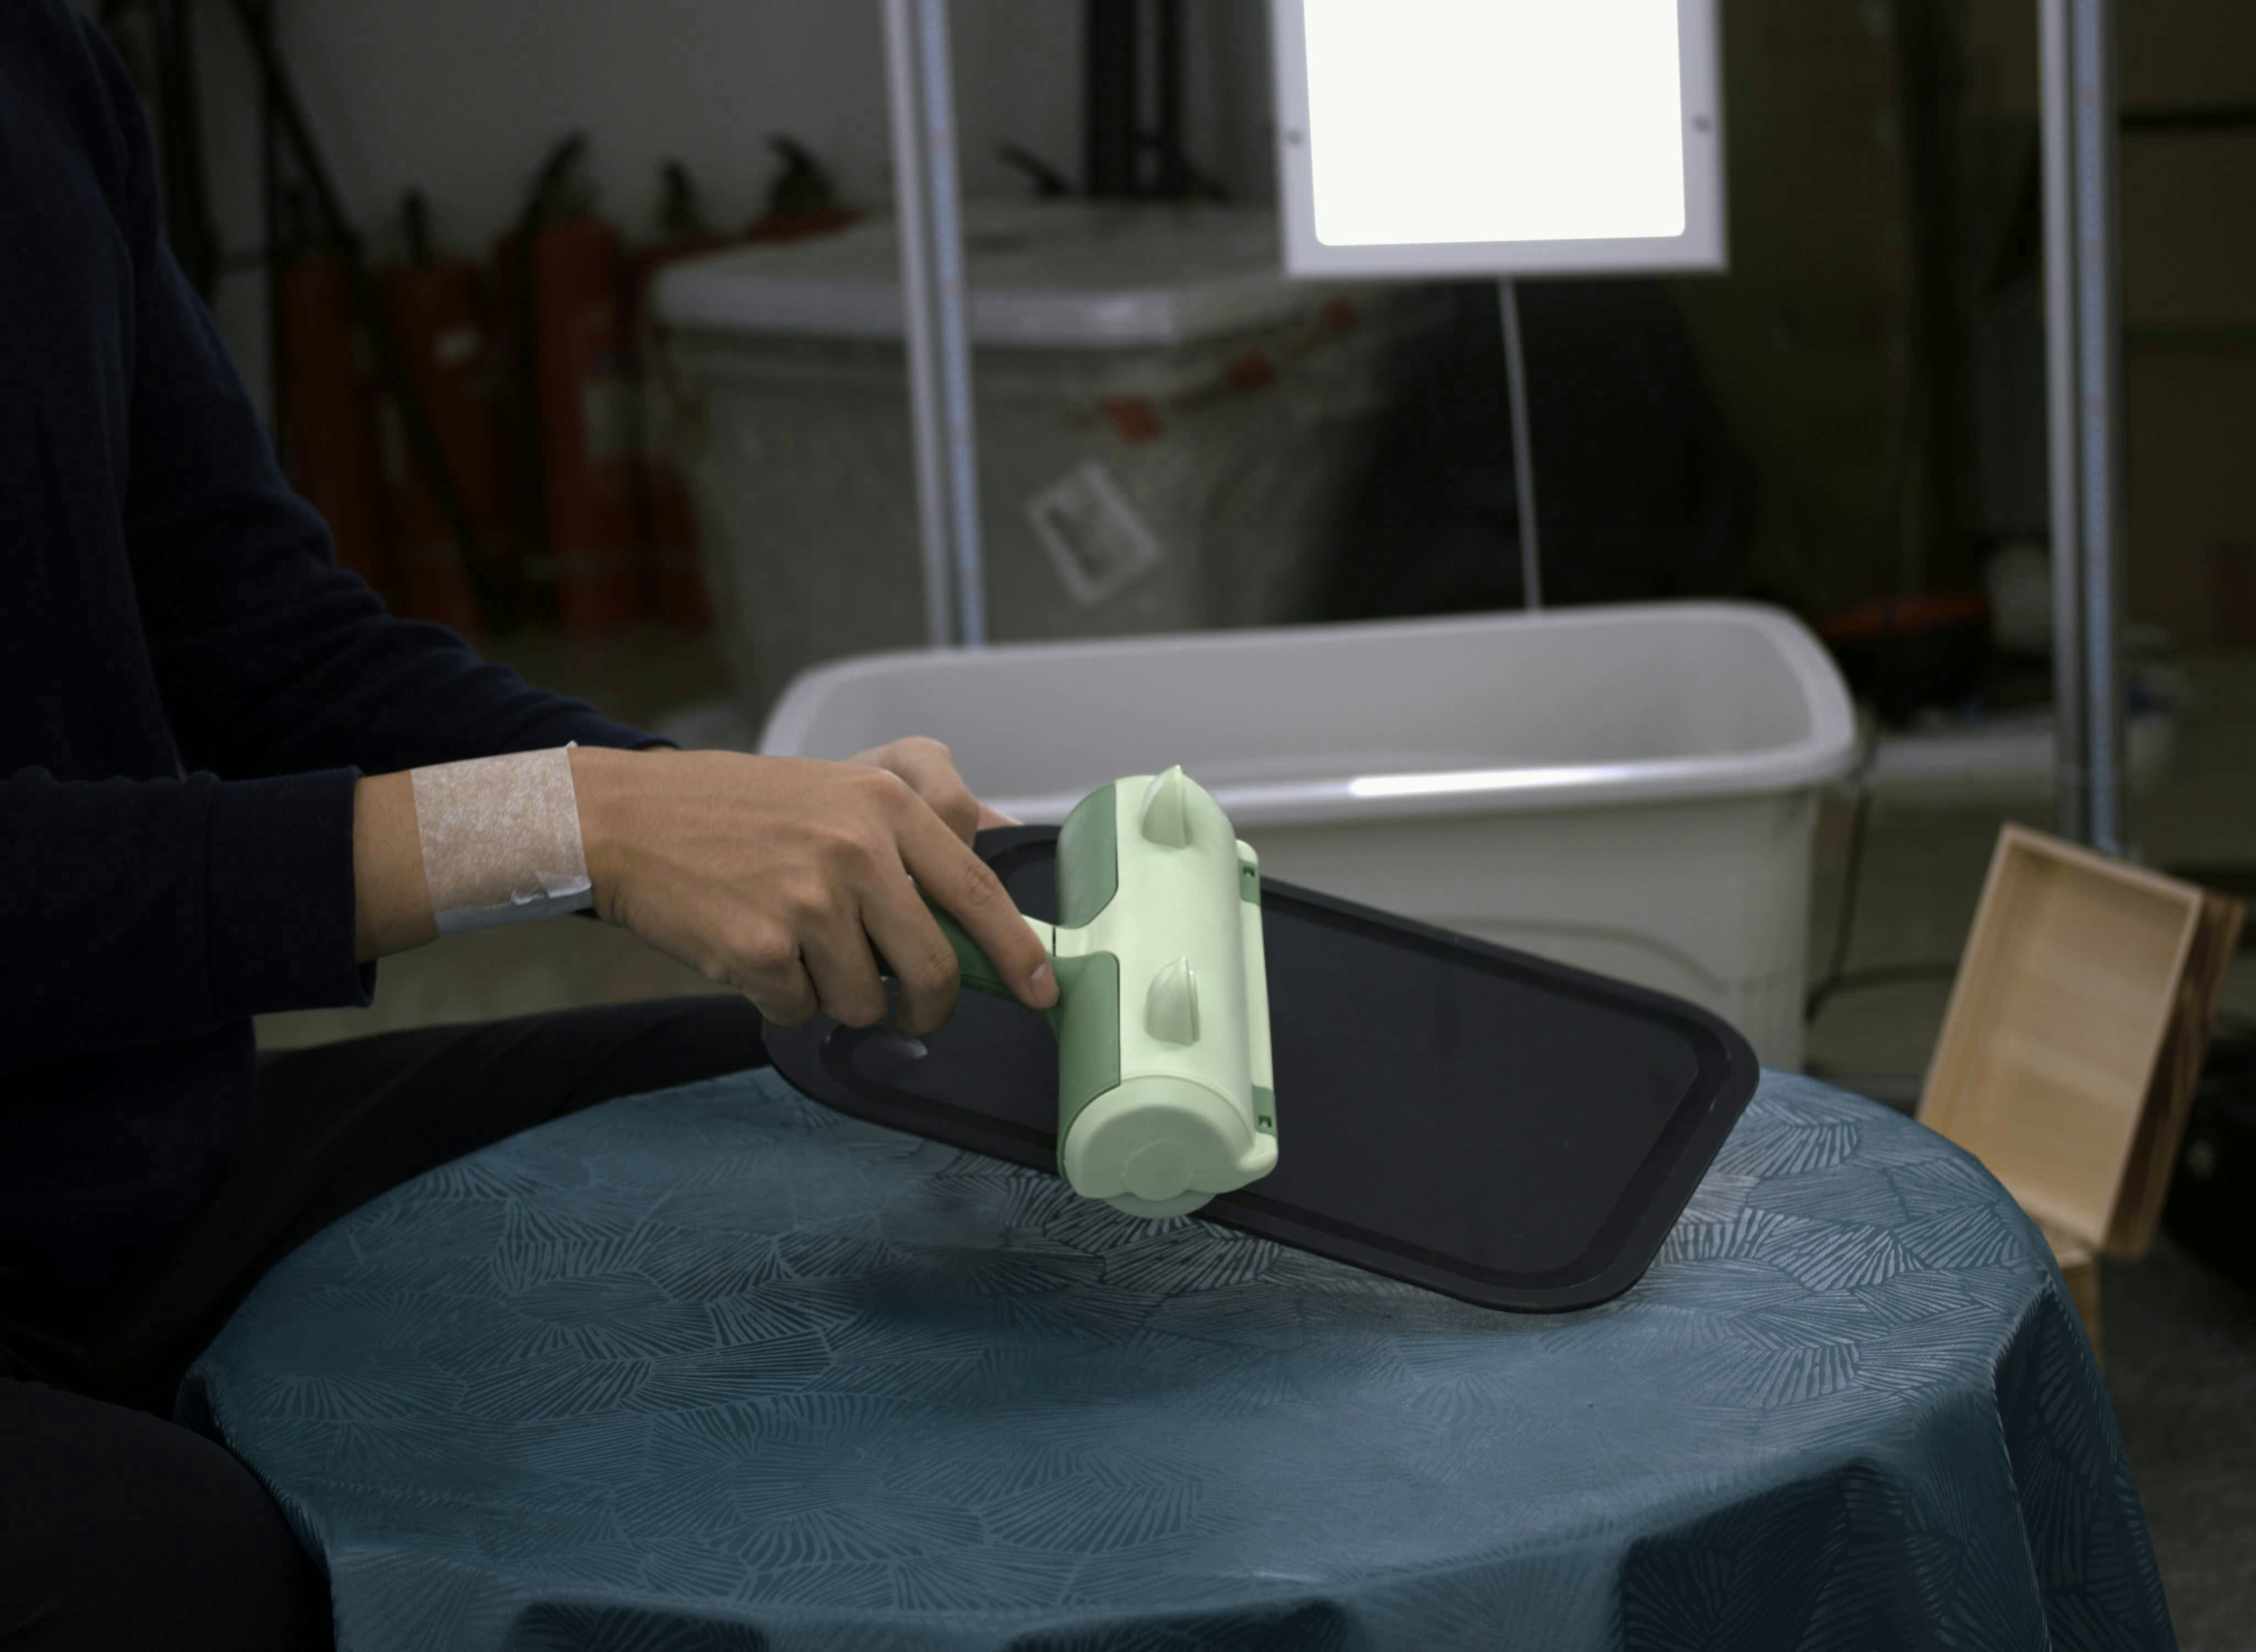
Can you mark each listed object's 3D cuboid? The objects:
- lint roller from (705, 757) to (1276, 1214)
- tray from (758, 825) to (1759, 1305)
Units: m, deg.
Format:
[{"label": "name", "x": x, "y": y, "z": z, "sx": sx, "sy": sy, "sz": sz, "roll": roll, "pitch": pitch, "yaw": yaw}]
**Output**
[{"label": "lint roller", "x": -0.039, "y": 0.024, "z": 1.763, "sx": 0.181, "sy": 0.083, "sz": 0.198, "roll": 23, "pitch": 28, "yaw": -14}, {"label": "tray", "x": 0.039, "y": 0.072, "z": 1.845, "sx": 0.329, "sy": 0.010, "sz": 0.207, "roll": 16, "pitch": 31, "yaw": 20}]
